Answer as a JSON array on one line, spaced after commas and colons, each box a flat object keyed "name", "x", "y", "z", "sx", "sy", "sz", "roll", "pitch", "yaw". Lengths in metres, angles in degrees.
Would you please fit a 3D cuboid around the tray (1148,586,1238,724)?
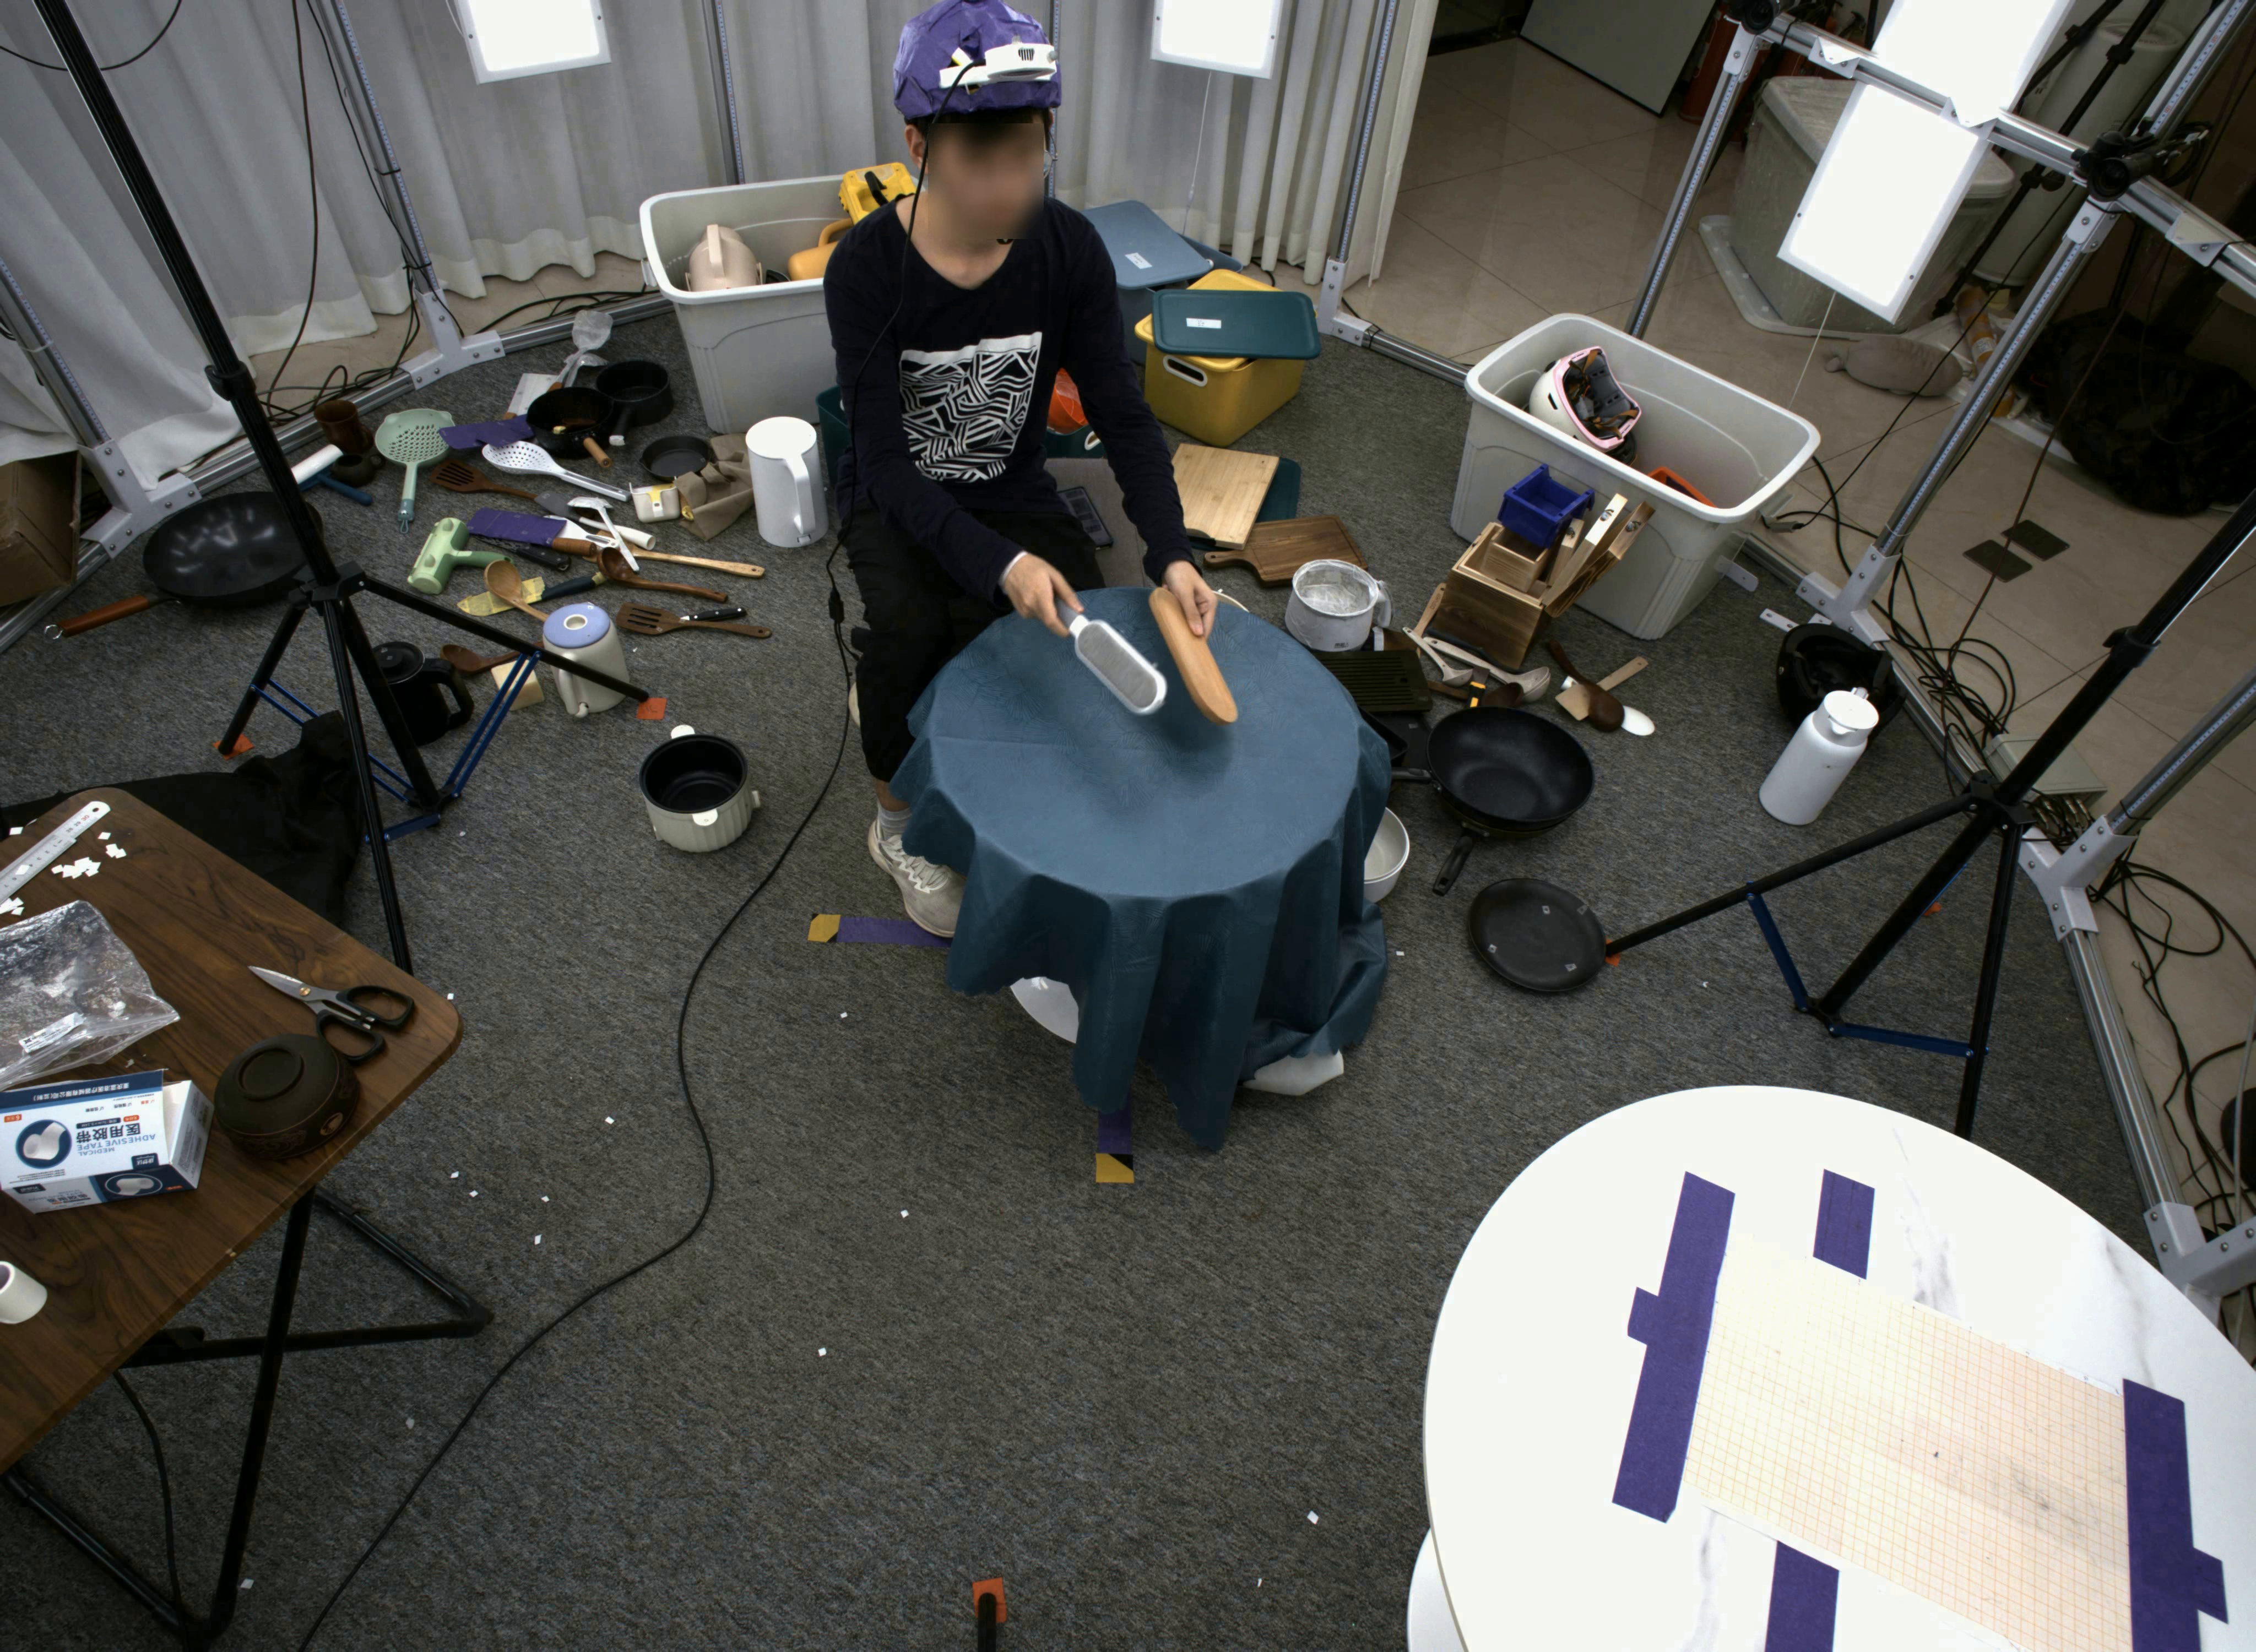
[{"name": "tray", "x": 0.089, "y": -0.237, "z": 1.777, "sx": 0.100, "sy": 0.020, "sz": 0.235, "roll": 15, "pitch": 45, "yaw": -54}]

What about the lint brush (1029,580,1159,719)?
[{"name": "lint brush", "x": -0.051, "y": -0.246, "z": 1.729, "sx": 0.020, "sy": 0.059, "sz": 0.315, "roll": 15, "pitch": 27, "yaw": -49}]
